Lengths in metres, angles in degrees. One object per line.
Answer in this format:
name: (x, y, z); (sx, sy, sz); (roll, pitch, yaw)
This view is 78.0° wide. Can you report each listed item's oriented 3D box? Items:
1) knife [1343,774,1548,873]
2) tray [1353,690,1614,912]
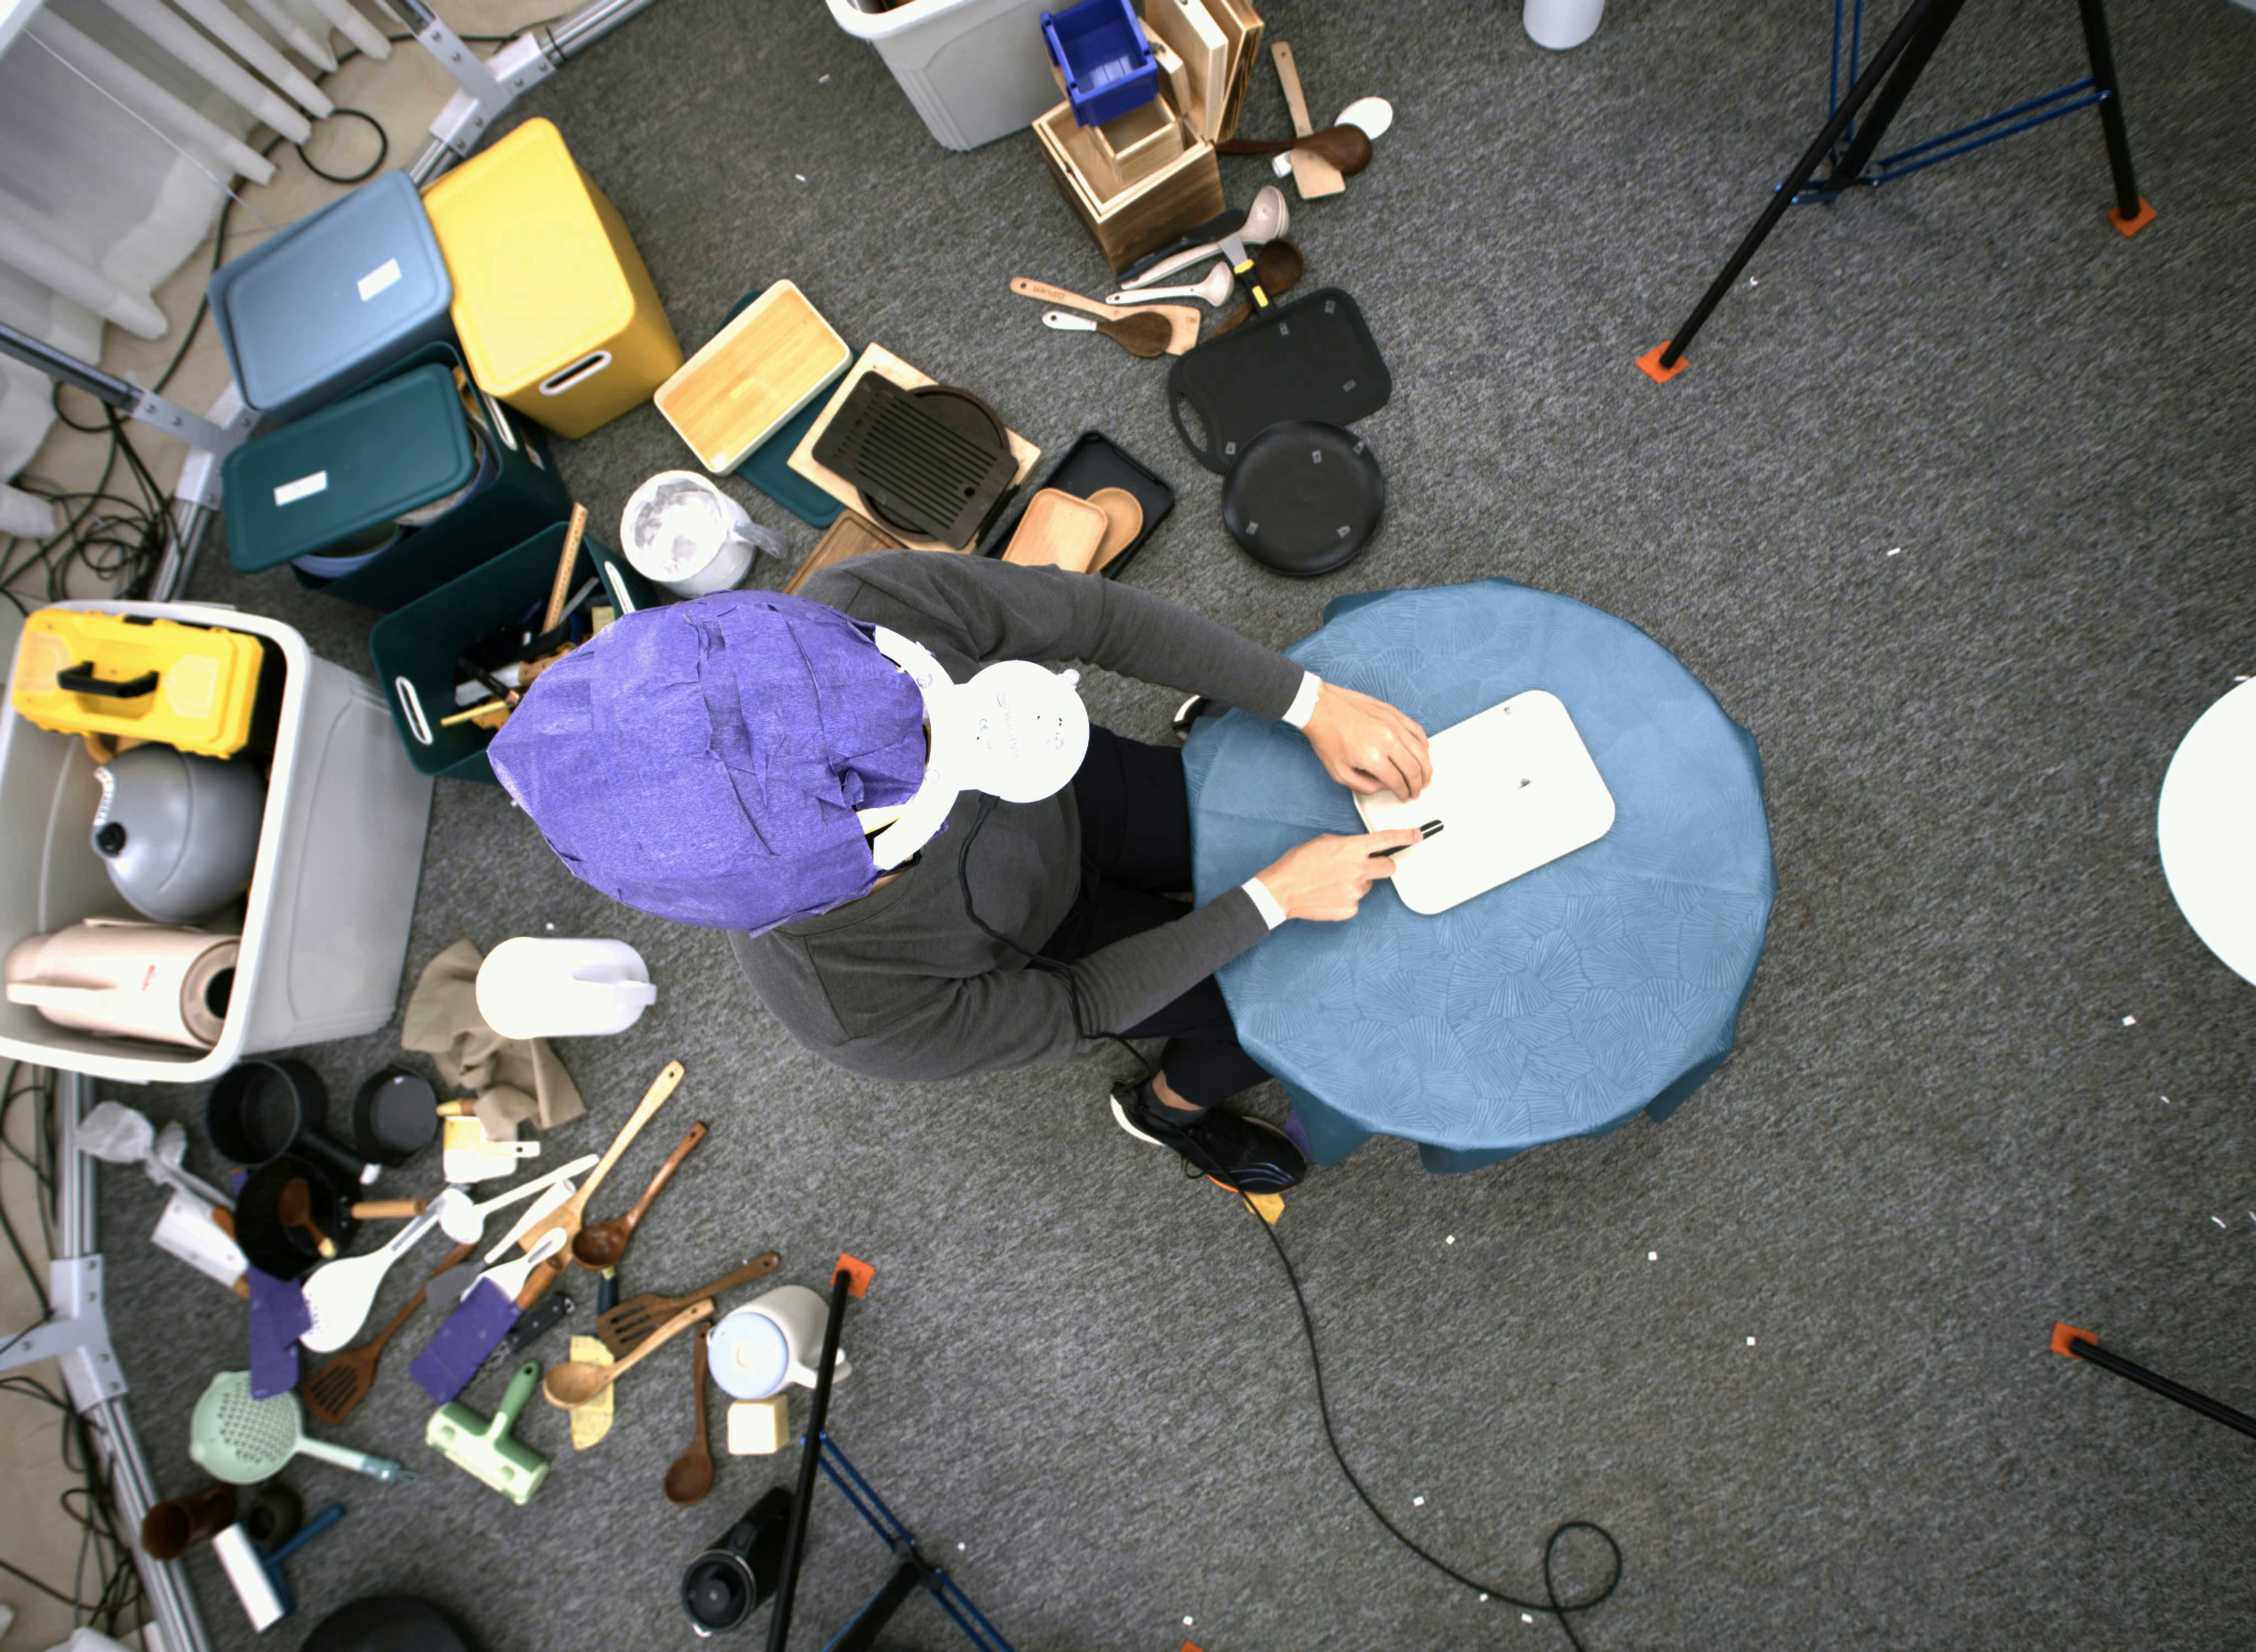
knife: (0.331, -0.008, 1.423); (0.238, 0.024, 0.016); (-25, 84, -2)
tray: (0.370, -0.027, 1.438); (0.241, 0.017, 0.170); (-25, 83, 8)
